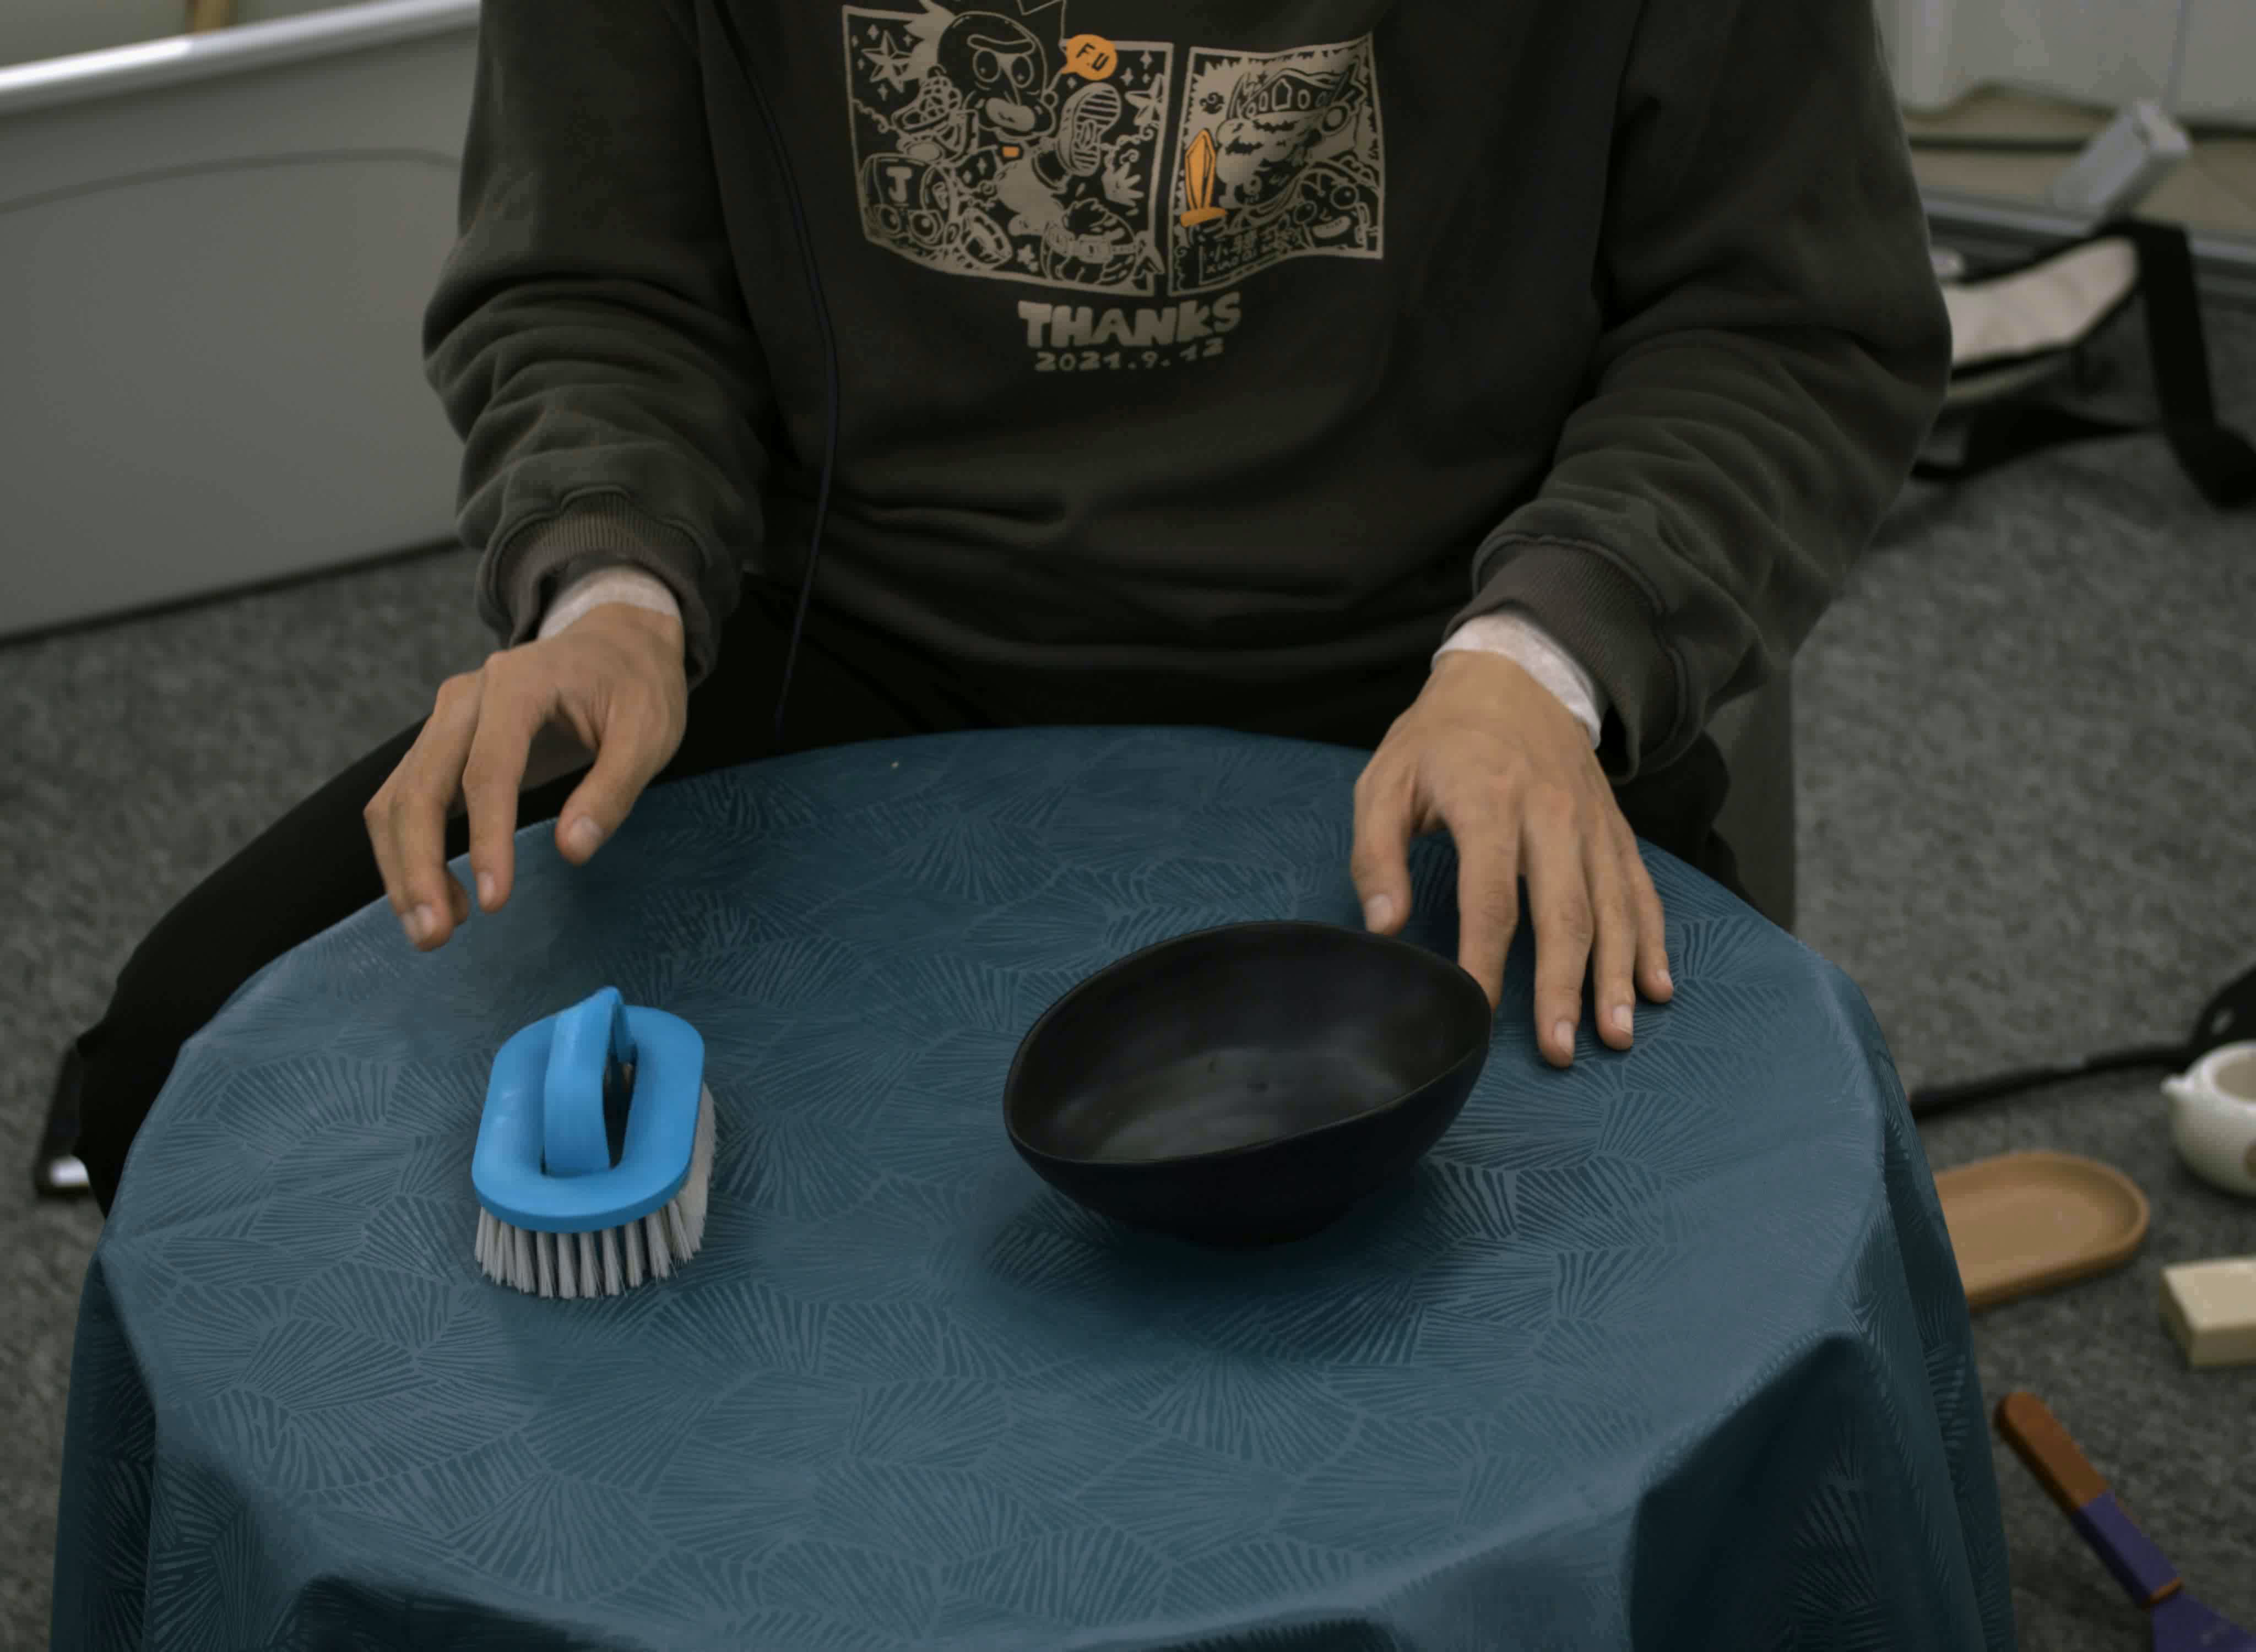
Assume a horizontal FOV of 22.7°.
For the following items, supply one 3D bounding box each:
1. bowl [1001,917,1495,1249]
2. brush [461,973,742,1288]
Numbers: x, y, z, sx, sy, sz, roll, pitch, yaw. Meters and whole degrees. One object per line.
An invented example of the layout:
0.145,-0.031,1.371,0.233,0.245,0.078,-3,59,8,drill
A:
0.042,0.095,1.841,0.171,0.066,0.138,-19,31,-25,bowl
-0.176,0.092,1.864,0.084,0.063,0.144,-6,26,5,brush
